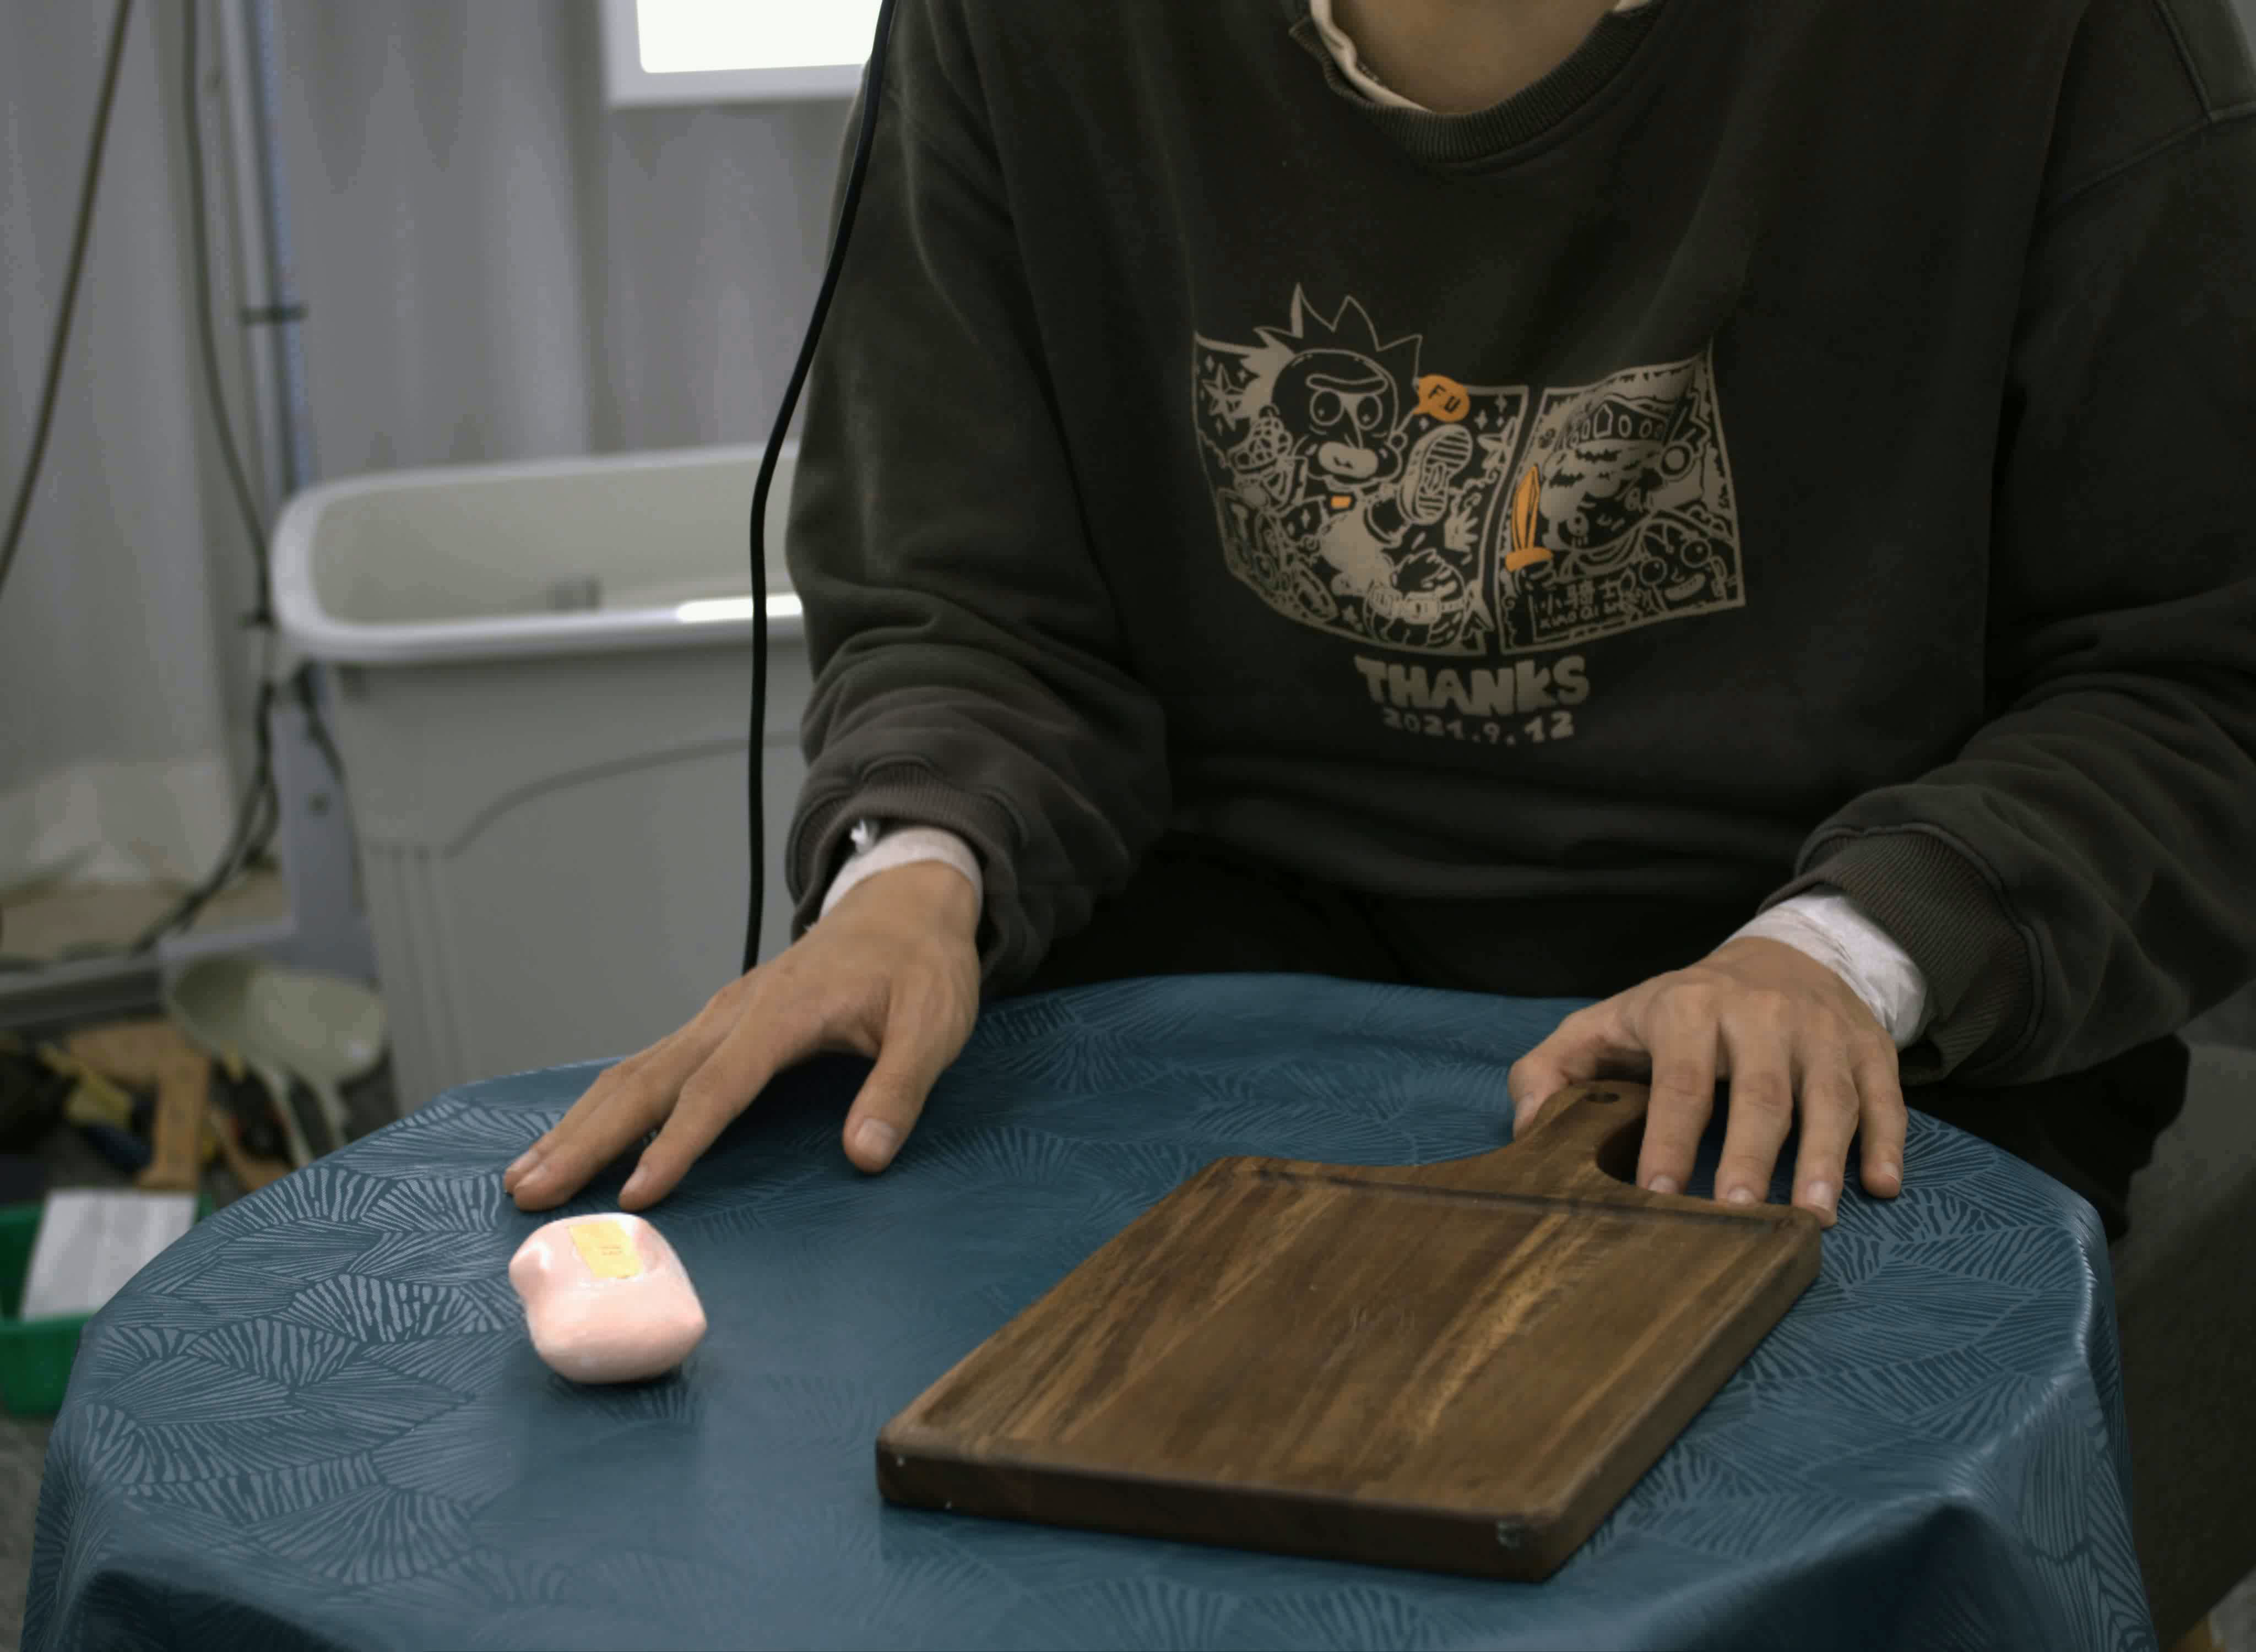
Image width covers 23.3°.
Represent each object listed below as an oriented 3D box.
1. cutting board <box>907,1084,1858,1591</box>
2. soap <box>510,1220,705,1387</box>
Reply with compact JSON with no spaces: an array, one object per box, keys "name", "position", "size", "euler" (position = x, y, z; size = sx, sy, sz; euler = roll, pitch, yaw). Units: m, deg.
[{"name":"cutting board","position":[0.097,0.137,1.581],"size":[0.201,0.023,0.353],"euler":[4,16,24]},{"name":"soap","position":[-0.153,0.140,1.606],"size":[0.050,0.030,0.095],"euler":[-5,13,-11]}]
